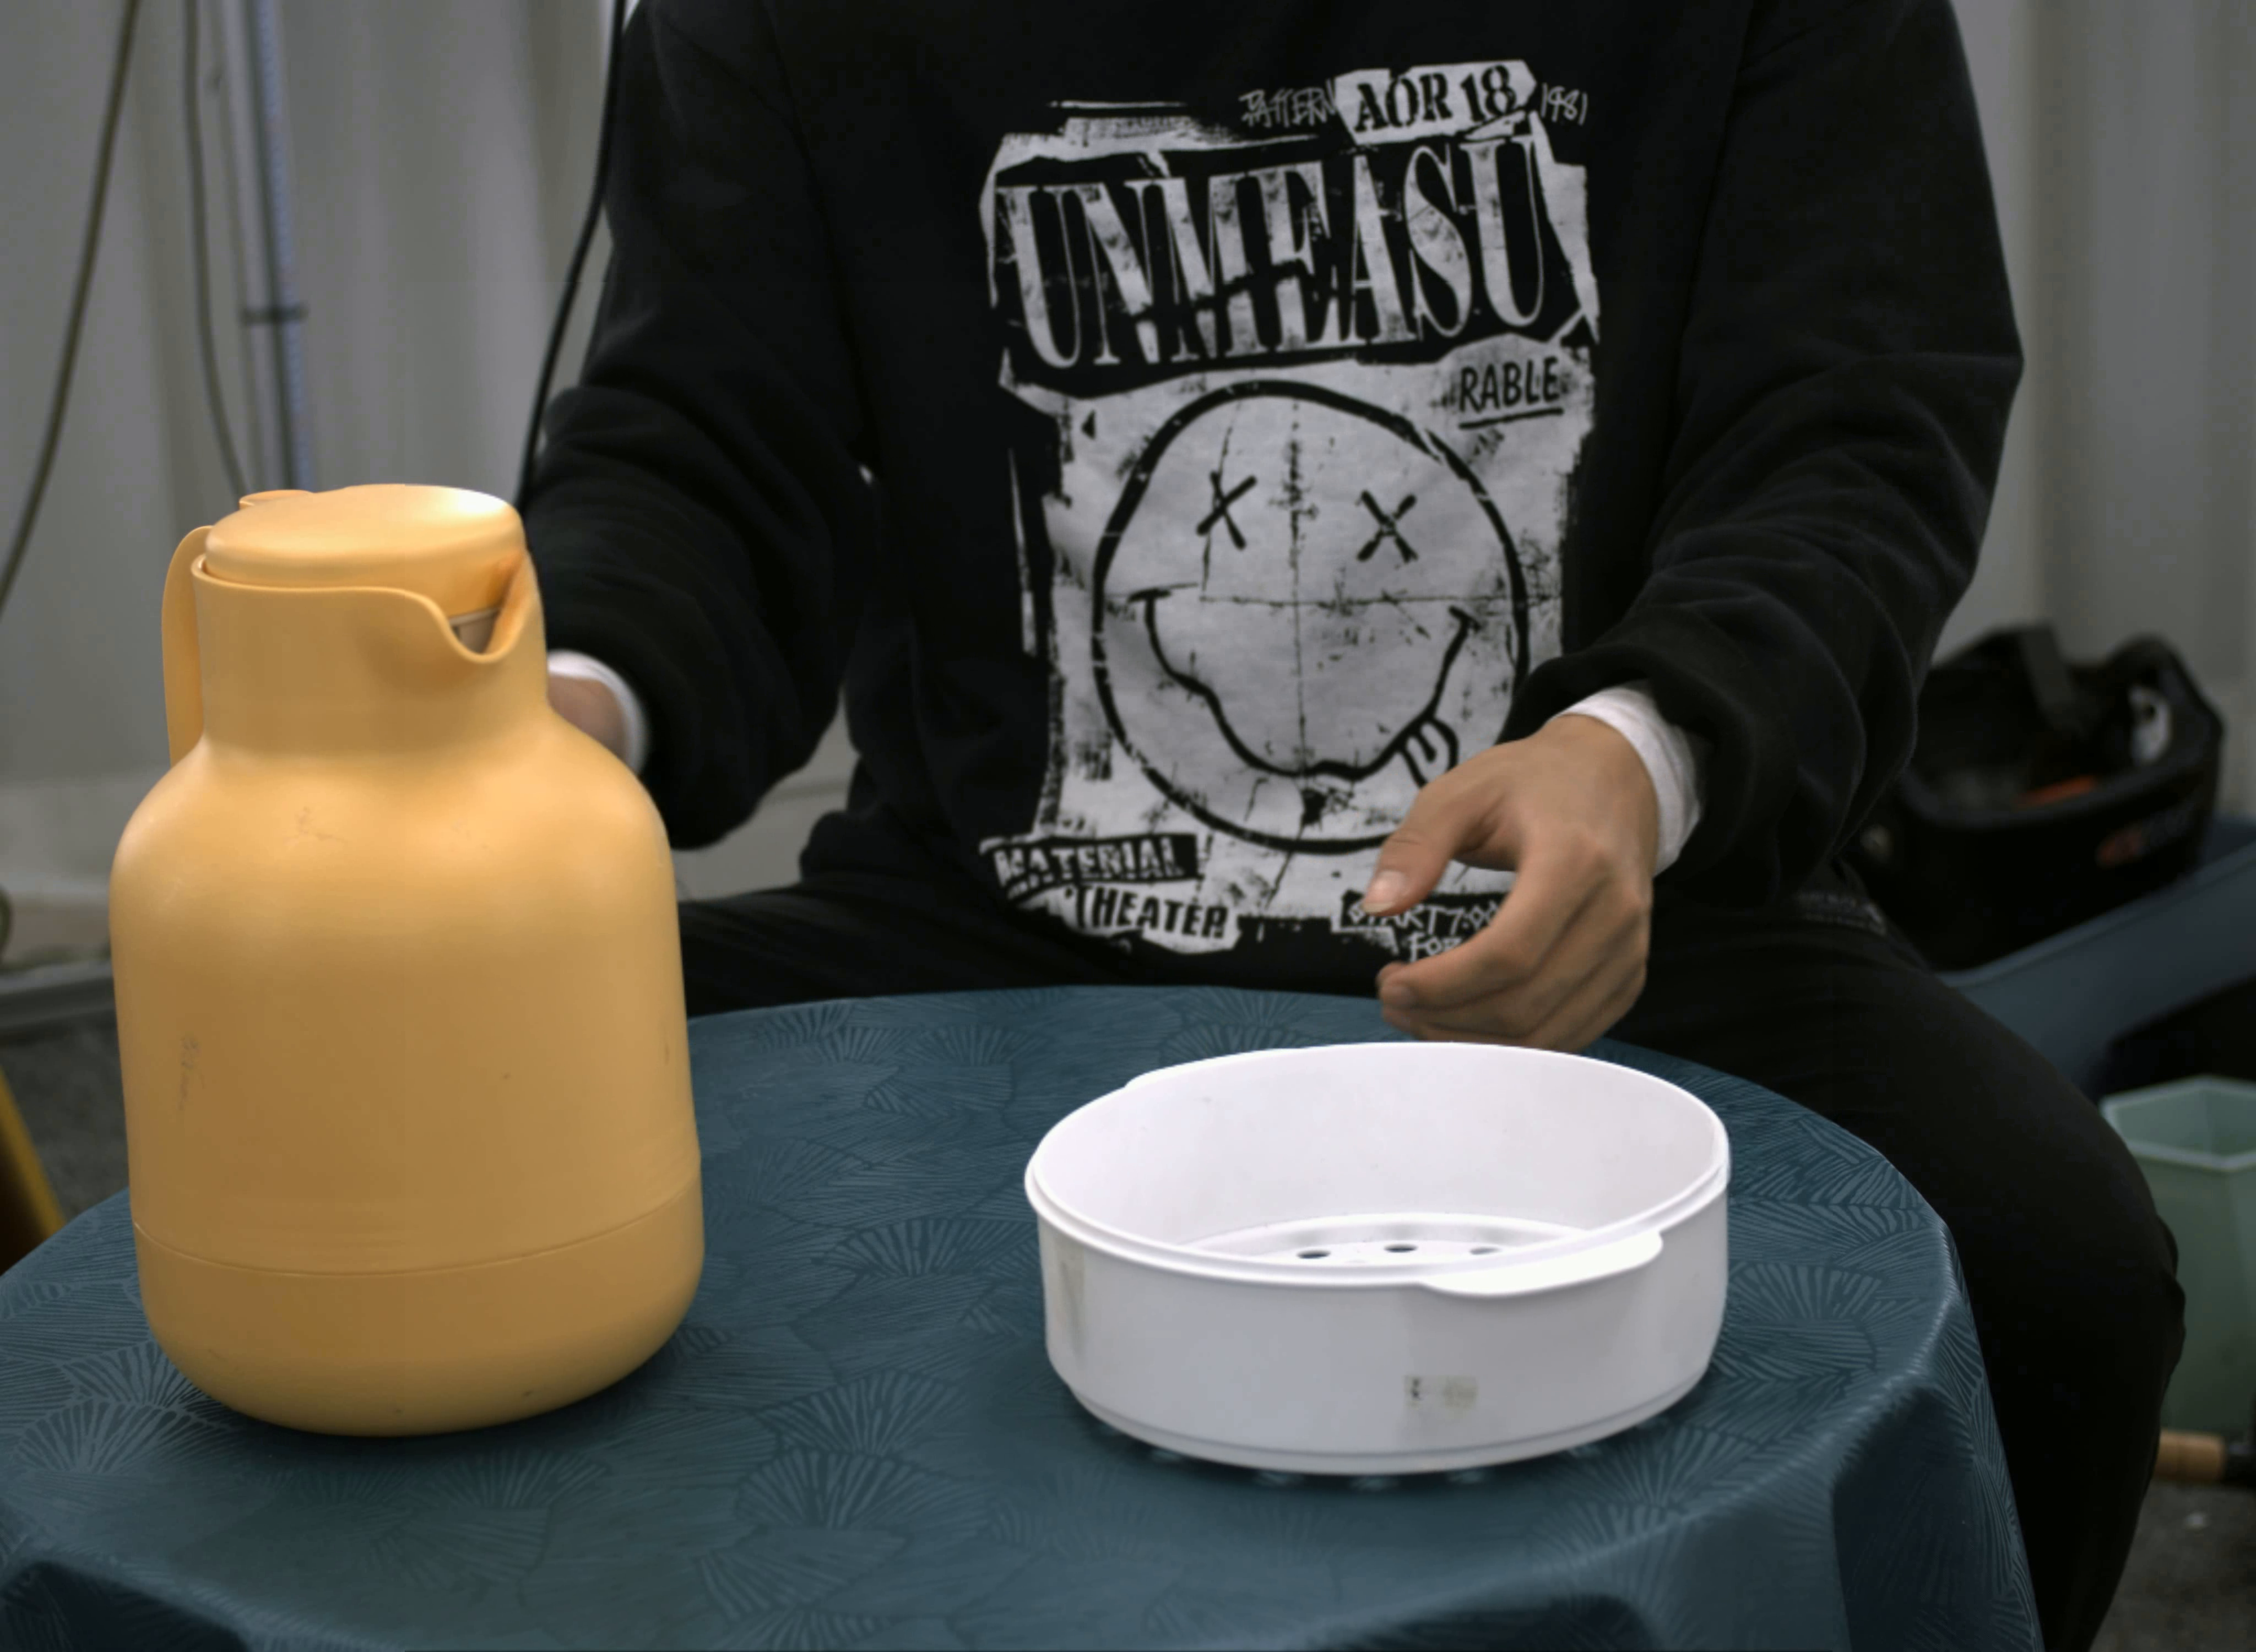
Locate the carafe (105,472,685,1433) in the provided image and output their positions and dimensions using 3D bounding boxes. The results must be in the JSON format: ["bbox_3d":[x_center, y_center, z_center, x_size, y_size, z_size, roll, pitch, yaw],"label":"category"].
[{"bbox_3d":[-0.219,0.028,1.576,0.162,0.259,0.204,-8,16,-30],"label":"carafe"}]

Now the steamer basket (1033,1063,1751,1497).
[{"bbox_3d":[0.075,0.127,1.538,0.201,0.069,0.232,-10,16,-23],"label":"steamer basket"}]
